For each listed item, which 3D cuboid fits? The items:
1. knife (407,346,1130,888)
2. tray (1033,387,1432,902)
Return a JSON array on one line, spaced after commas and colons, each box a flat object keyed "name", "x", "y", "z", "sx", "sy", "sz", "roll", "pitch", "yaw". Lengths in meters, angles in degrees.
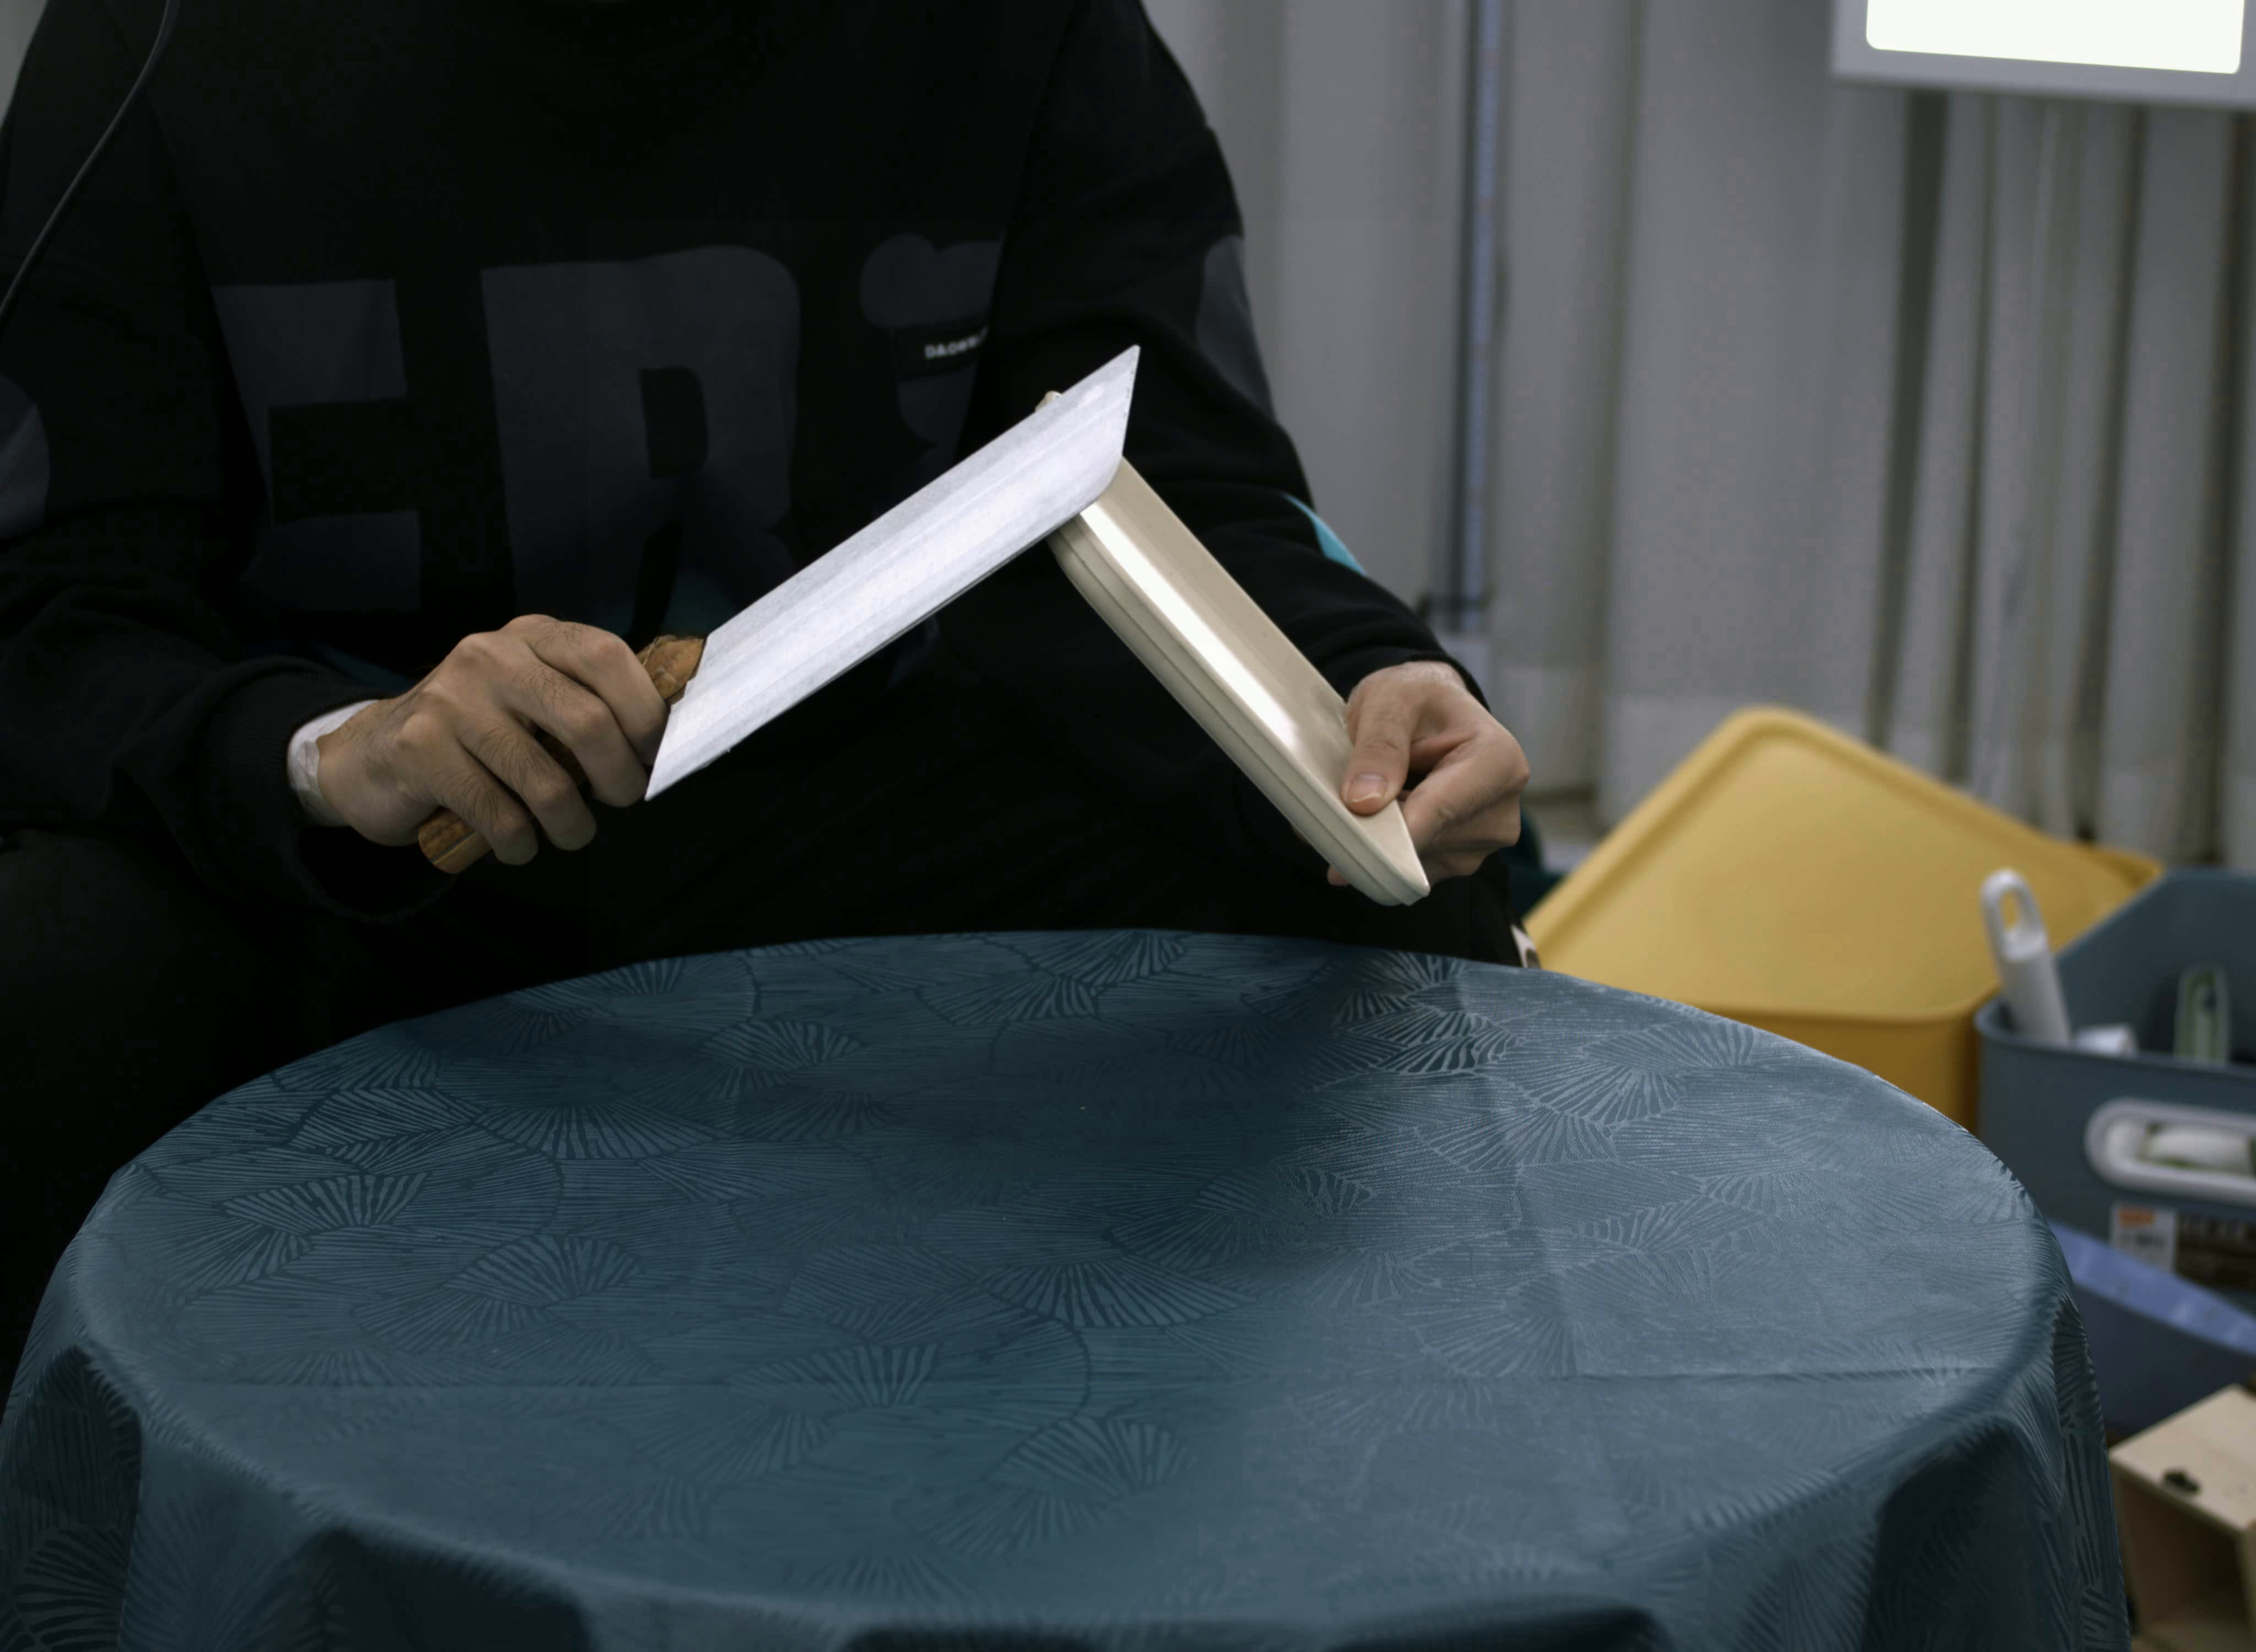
[{"name": "knife", "x": -0.118, "y": -0.052, "z": 1.651, "sx": 0.305, "sy": 0.021, "sz": 0.092, "roll": -33, "pitch": 26, "yaw": 24}, {"name": "tray", "x": 0.028, "y": -0.059, "z": 1.687, "sx": 0.017, "sy": 0.172, "sz": 0.238, "roll": -41, "pitch": 12, "yaw": 8}]
